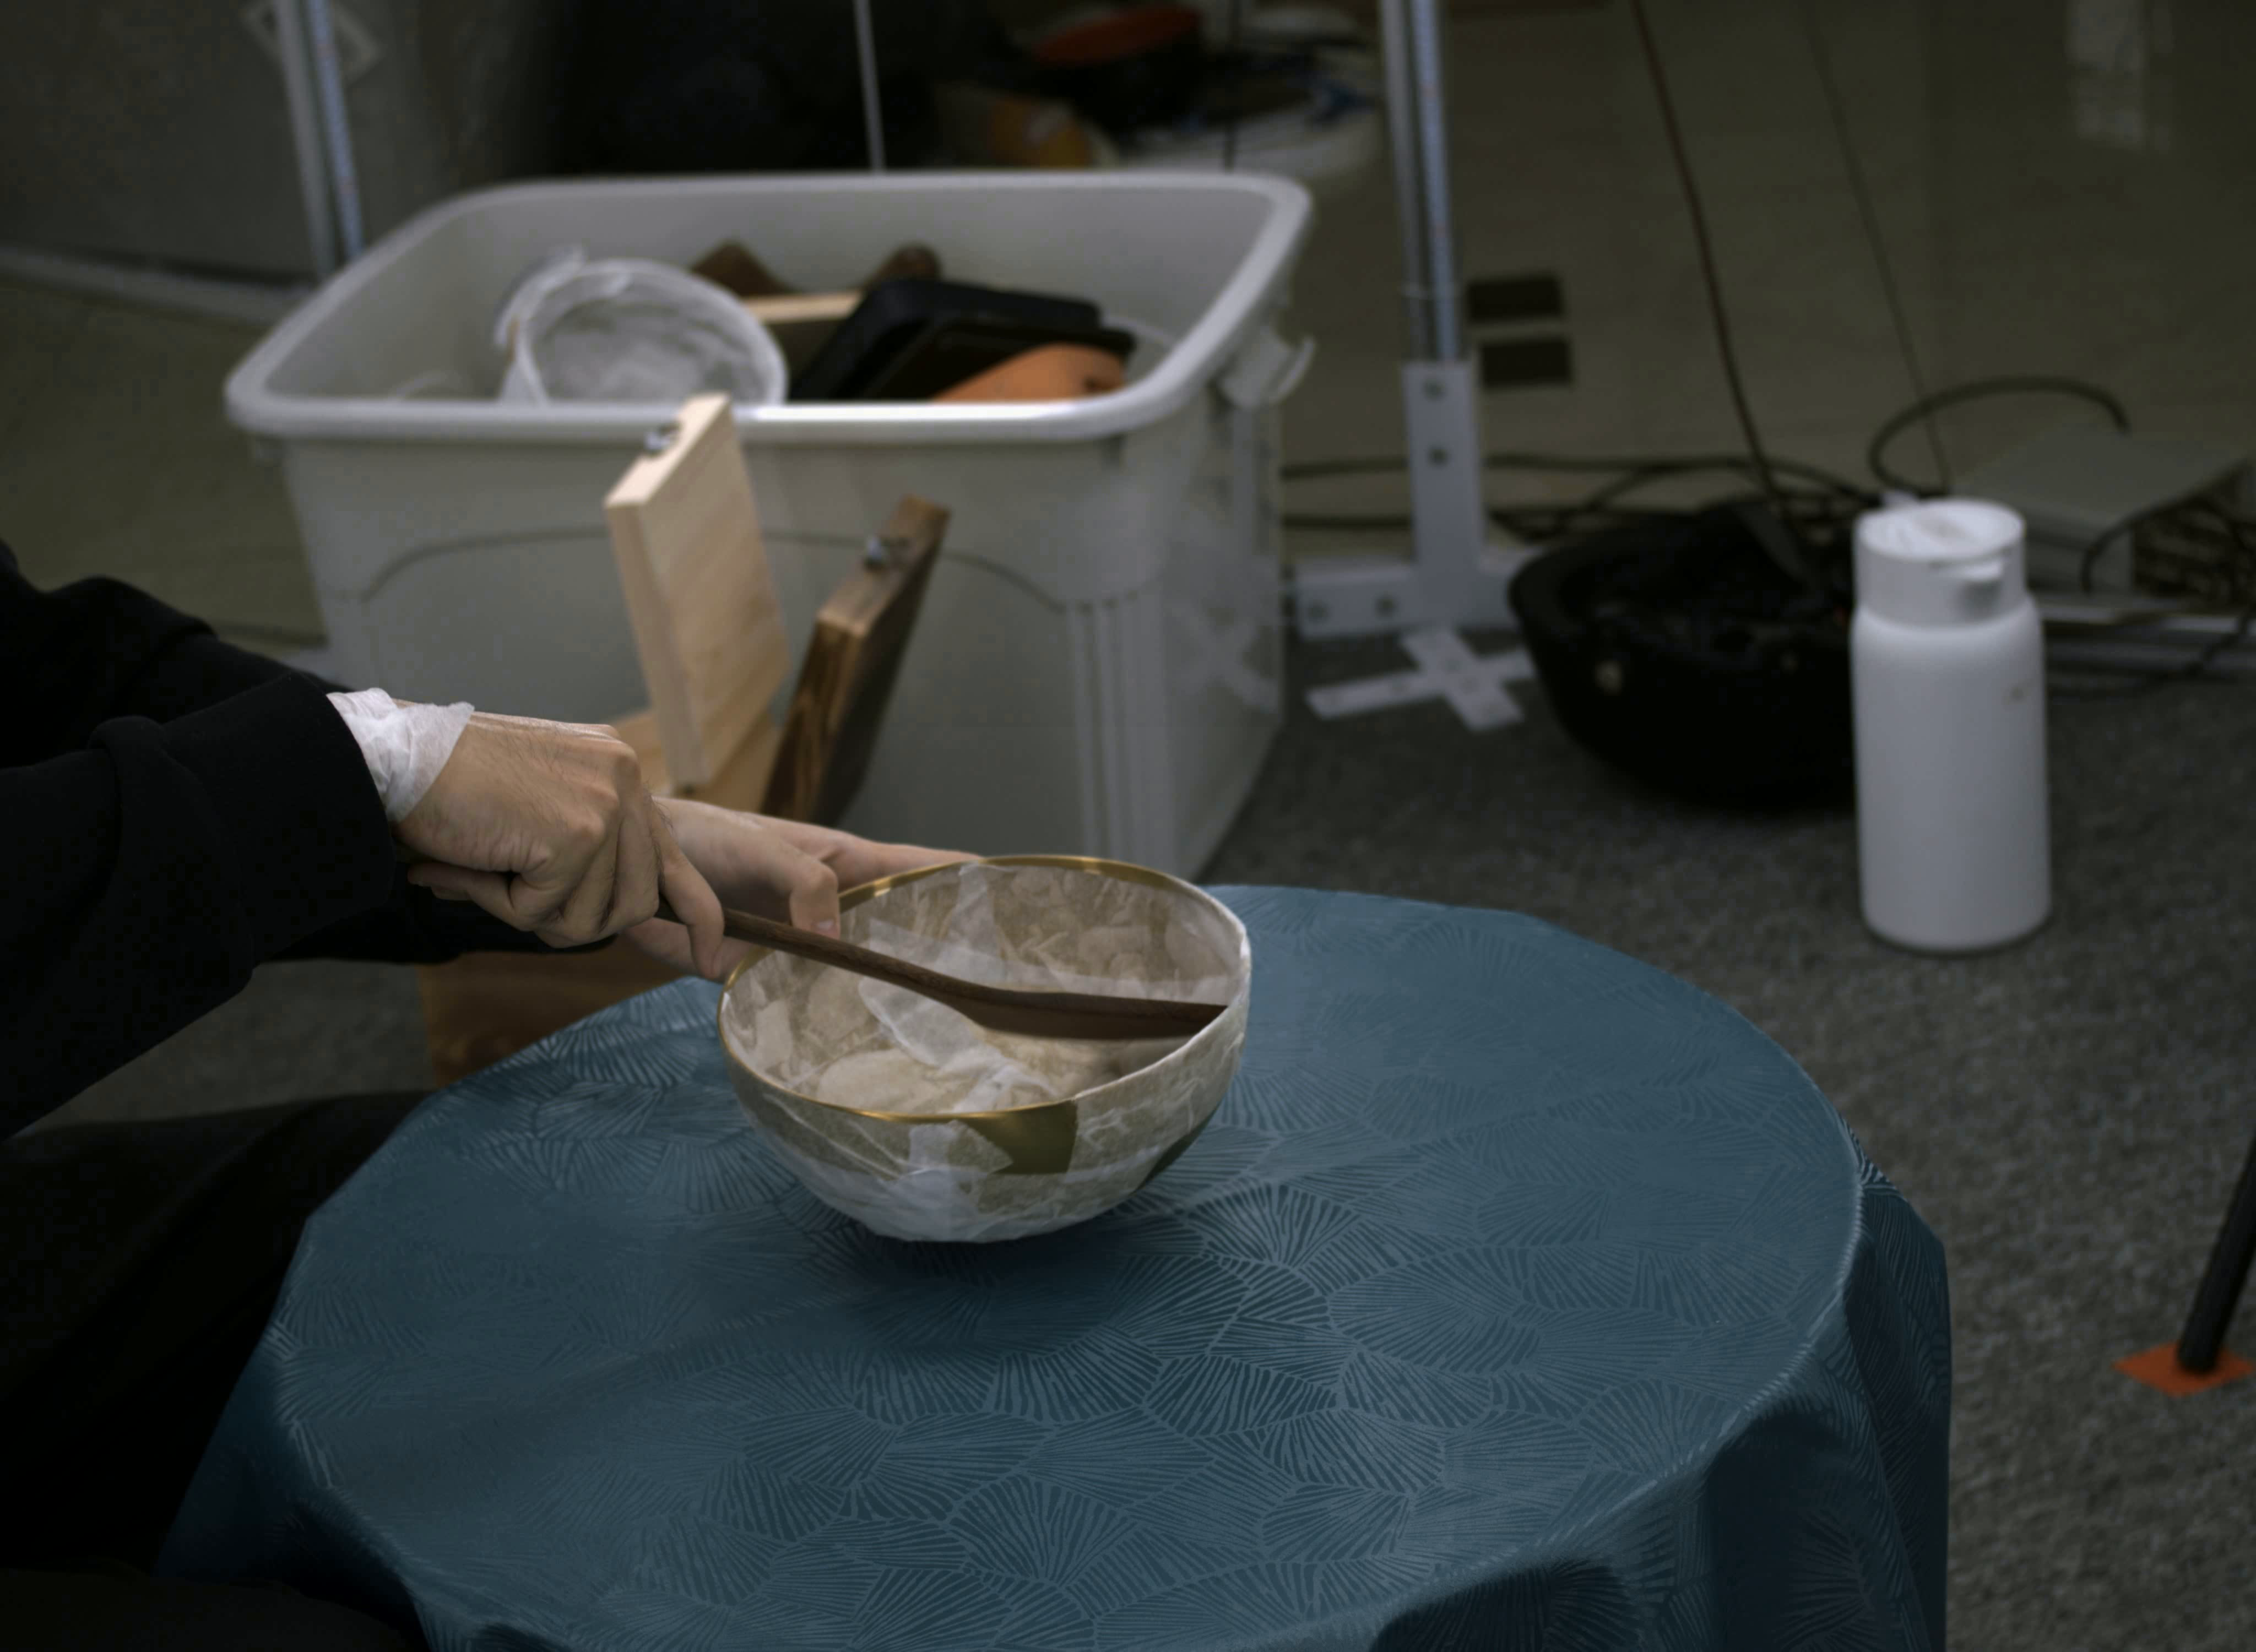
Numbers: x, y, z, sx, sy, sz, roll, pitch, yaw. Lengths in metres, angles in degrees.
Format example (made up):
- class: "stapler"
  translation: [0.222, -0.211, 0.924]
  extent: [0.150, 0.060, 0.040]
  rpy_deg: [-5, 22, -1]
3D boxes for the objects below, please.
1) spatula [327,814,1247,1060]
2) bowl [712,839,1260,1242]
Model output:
- class: "spatula"
  translation: [-0.122, 0.042, 2.045]
  extent: [0.388, 0.015, 0.096]
  rpy_deg: [17, -18, -37]
- class: "bowl"
  translation: [-0.049, 0.095, 2.142]
  extent: [0.214, 0.096, 0.211]
  rpy_deg: [-7, 29, 4]
